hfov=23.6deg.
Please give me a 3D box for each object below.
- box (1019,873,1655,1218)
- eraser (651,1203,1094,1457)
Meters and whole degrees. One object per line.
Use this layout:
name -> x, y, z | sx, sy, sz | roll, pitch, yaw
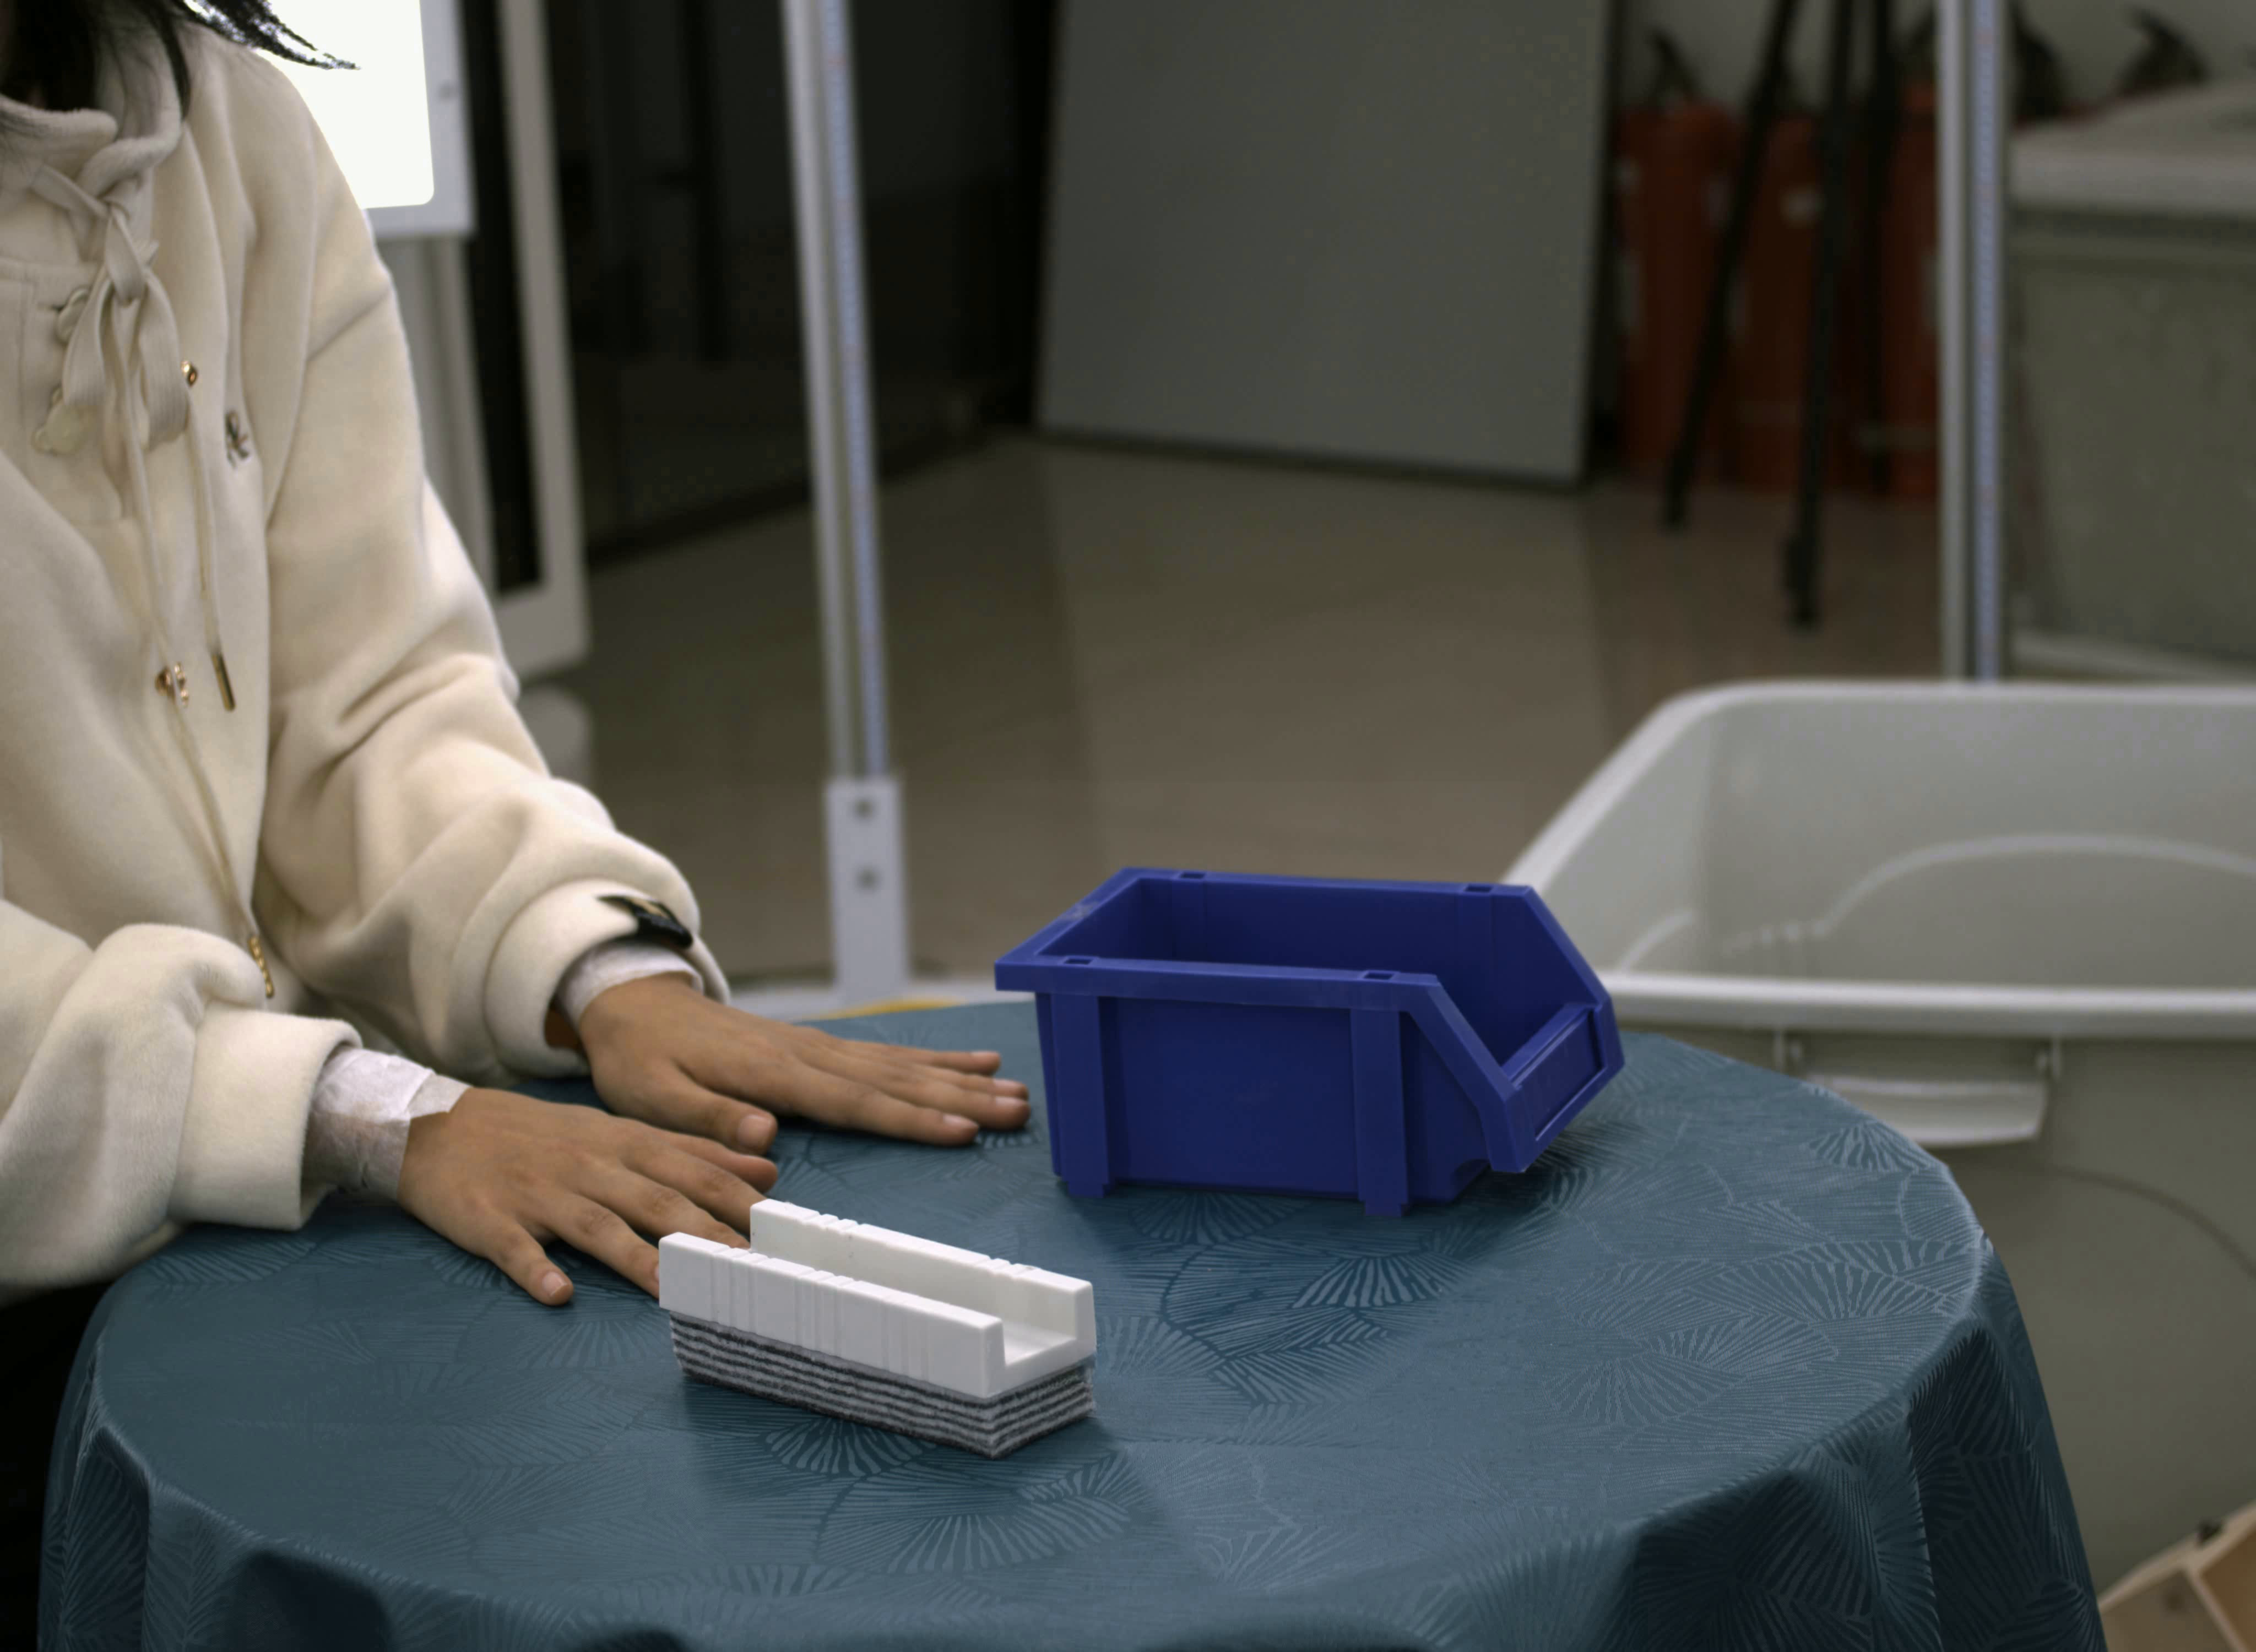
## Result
box -> 0.072, 0.070, 1.783 | 0.179, 0.083, 0.123 | 0, 14, 25
eraser -> -0.075, 0.147, 1.587 | 0.135, 0.047, 0.049 | 10, 20, 39
